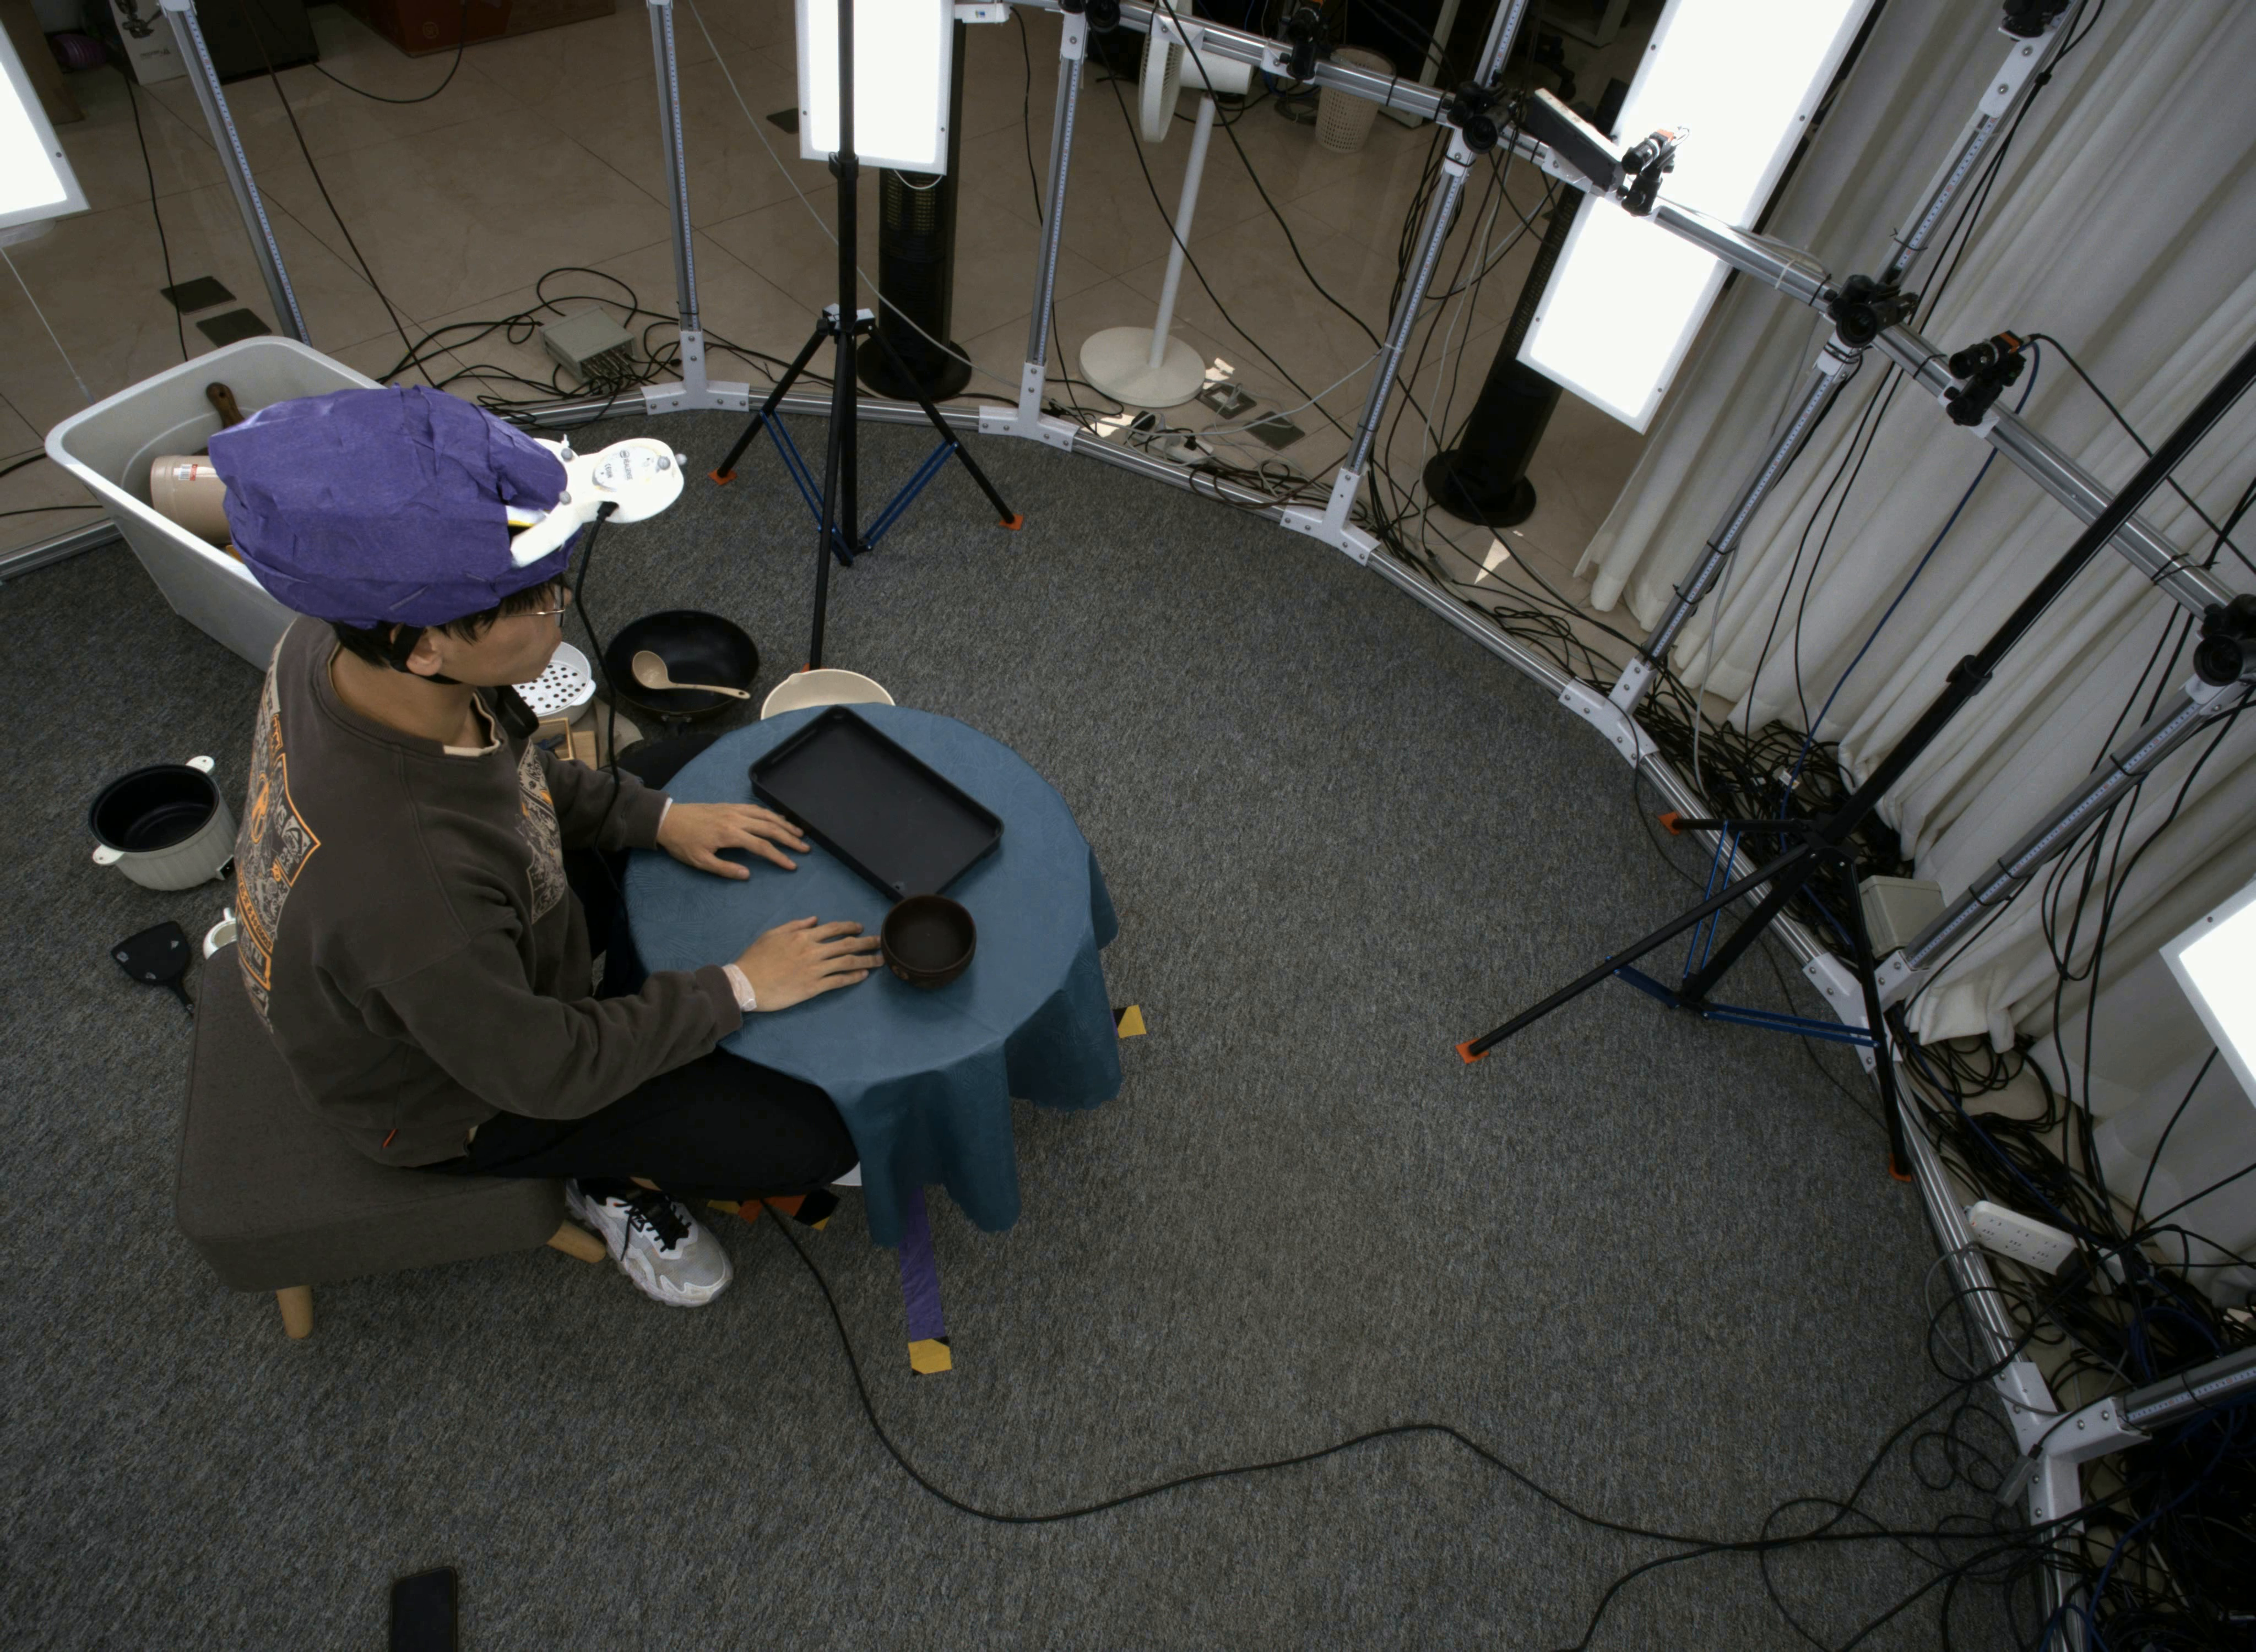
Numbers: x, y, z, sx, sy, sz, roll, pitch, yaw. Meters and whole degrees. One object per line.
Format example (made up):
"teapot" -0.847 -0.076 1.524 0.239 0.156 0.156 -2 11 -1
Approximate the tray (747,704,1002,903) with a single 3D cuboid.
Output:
"tray" -0.342 -0.029 1.757 0.312 0.038 0.184 34 55 11

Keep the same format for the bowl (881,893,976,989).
"bowl" -0.248 0.149 1.625 0.117 0.071 0.116 6 53 -6
